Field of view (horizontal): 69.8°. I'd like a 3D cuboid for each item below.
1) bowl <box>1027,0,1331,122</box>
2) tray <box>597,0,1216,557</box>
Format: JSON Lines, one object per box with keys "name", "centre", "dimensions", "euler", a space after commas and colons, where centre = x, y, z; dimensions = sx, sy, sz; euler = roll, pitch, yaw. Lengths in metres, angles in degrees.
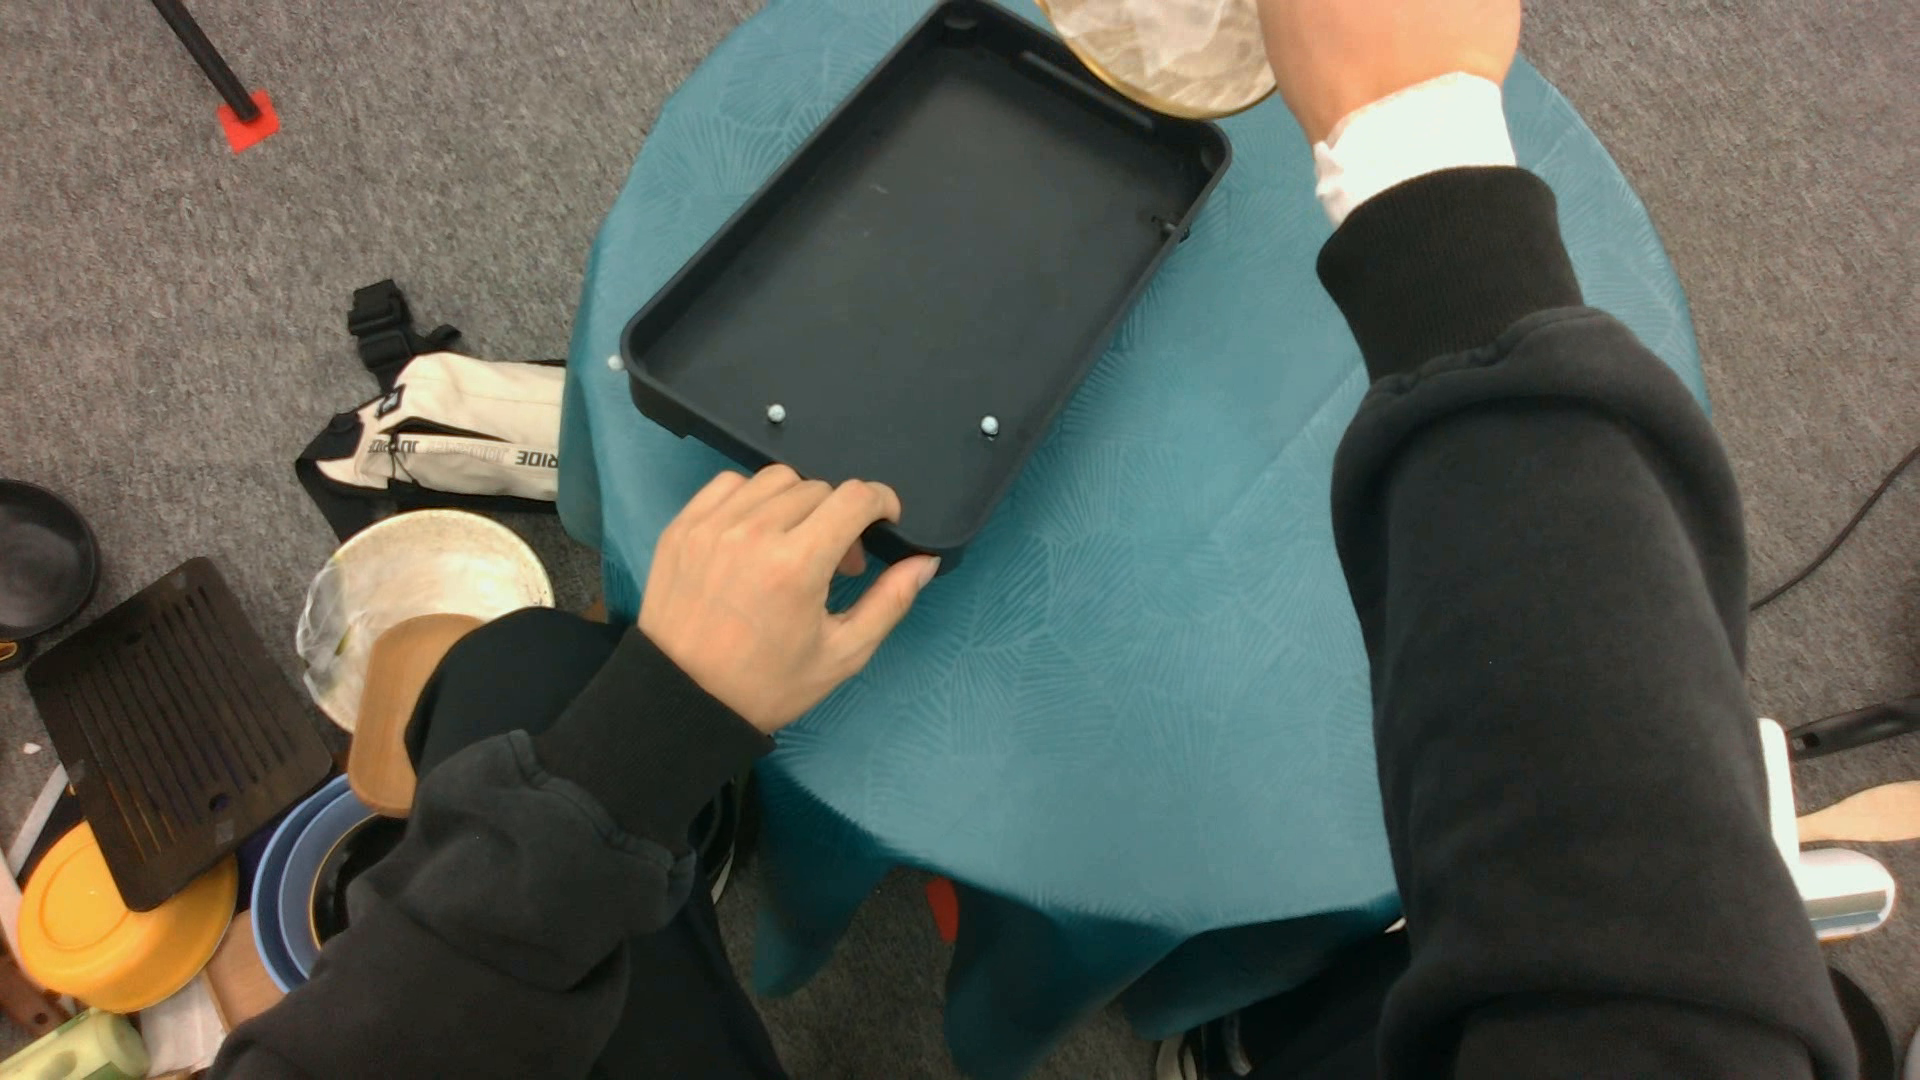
{"name": "bowl", "centre": [0.091, -0.284, 0.552], "dimensions": [0.095, 0.214, 0.215], "euler": [-39, 78, -17]}
{"name": "tray", "centre": [-0.014, -0.147, 0.687], "dimensions": [0.184, 0.037, 0.319], "euler": [32, 58, 8]}
